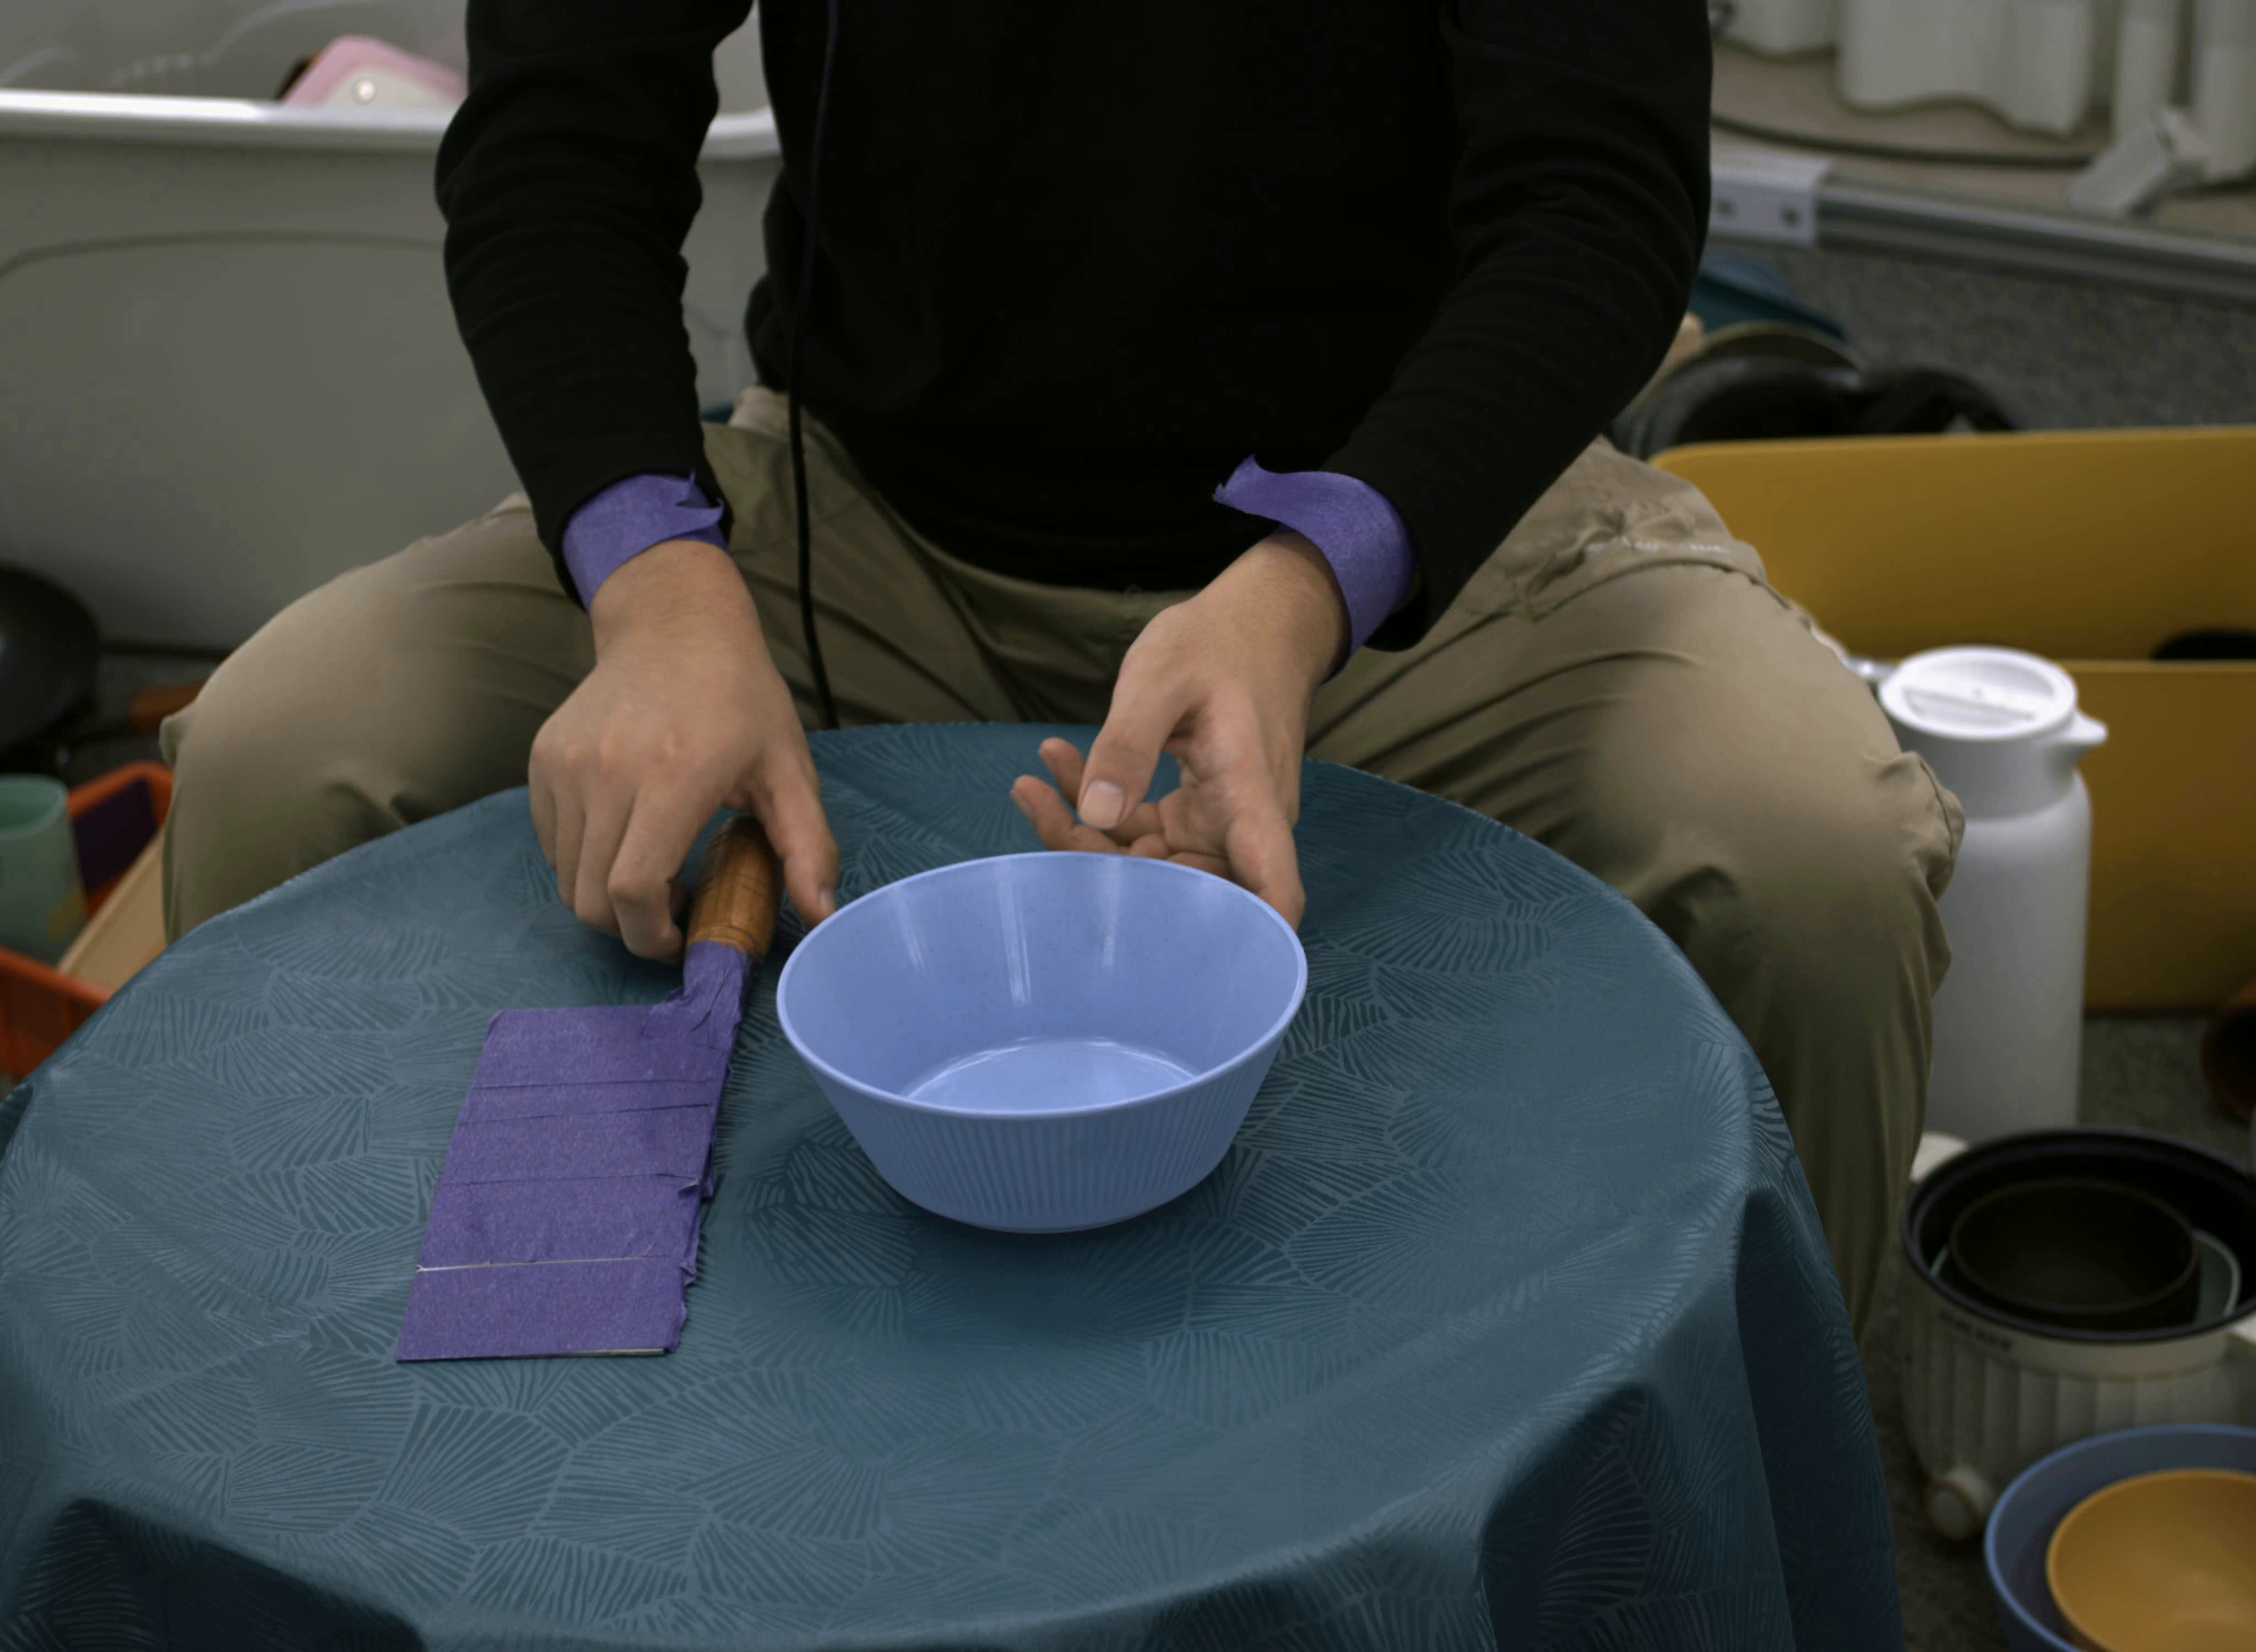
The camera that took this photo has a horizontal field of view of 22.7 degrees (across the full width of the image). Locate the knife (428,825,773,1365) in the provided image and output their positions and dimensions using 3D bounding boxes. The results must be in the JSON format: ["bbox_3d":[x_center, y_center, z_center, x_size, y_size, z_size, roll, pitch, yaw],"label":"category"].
[{"bbox_3d":[-0.179,0.087,1.914,0.103,0.032,0.320,-1,28,3],"label":"knife"}]

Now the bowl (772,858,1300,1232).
[{"bbox_3d":[-0.029,0.079,1.868,0.175,0.069,0.178,-2,26,1],"label":"bowl"}]
